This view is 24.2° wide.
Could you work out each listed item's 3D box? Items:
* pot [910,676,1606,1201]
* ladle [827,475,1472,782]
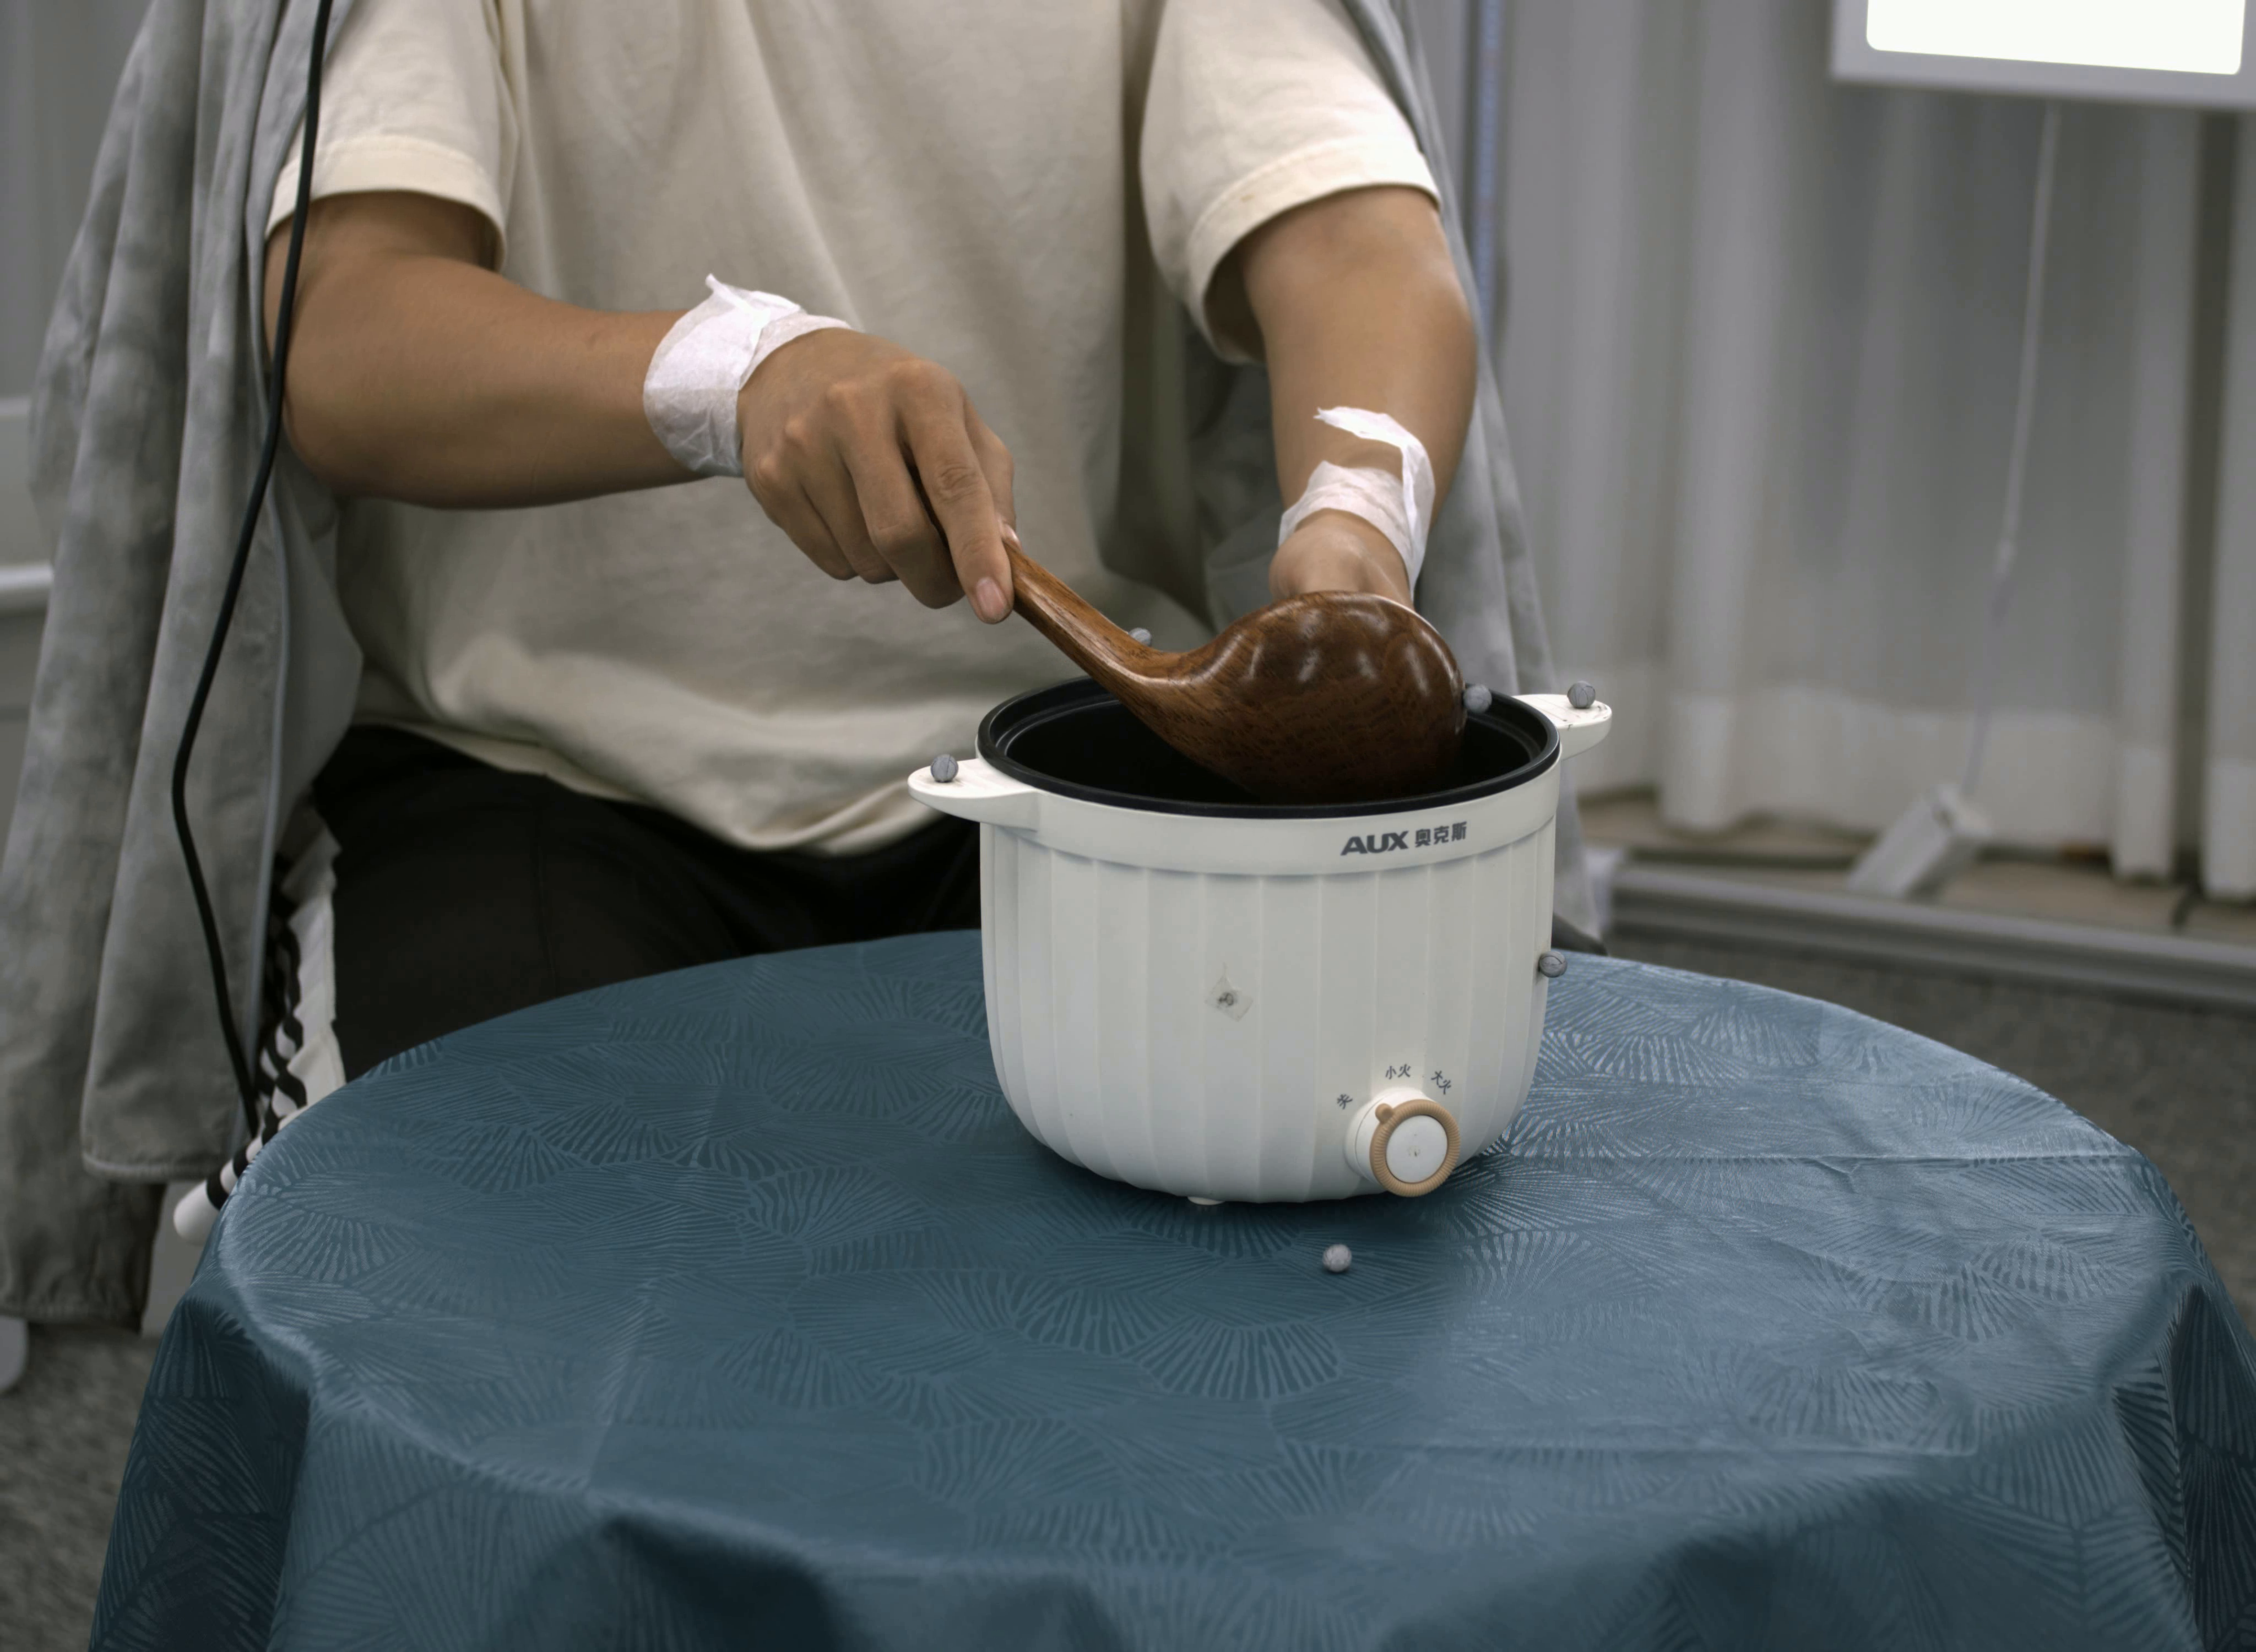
[{"bbox_3d":[0.047,0.035,1.646,0.241,0.144,0.188,-9,15,-25],"label":"pot"},{"bbox_3d":[0.005,-0.075,1.666,0.077,0.083,0.270,-25,35,-25],"label":"ladle"}]
